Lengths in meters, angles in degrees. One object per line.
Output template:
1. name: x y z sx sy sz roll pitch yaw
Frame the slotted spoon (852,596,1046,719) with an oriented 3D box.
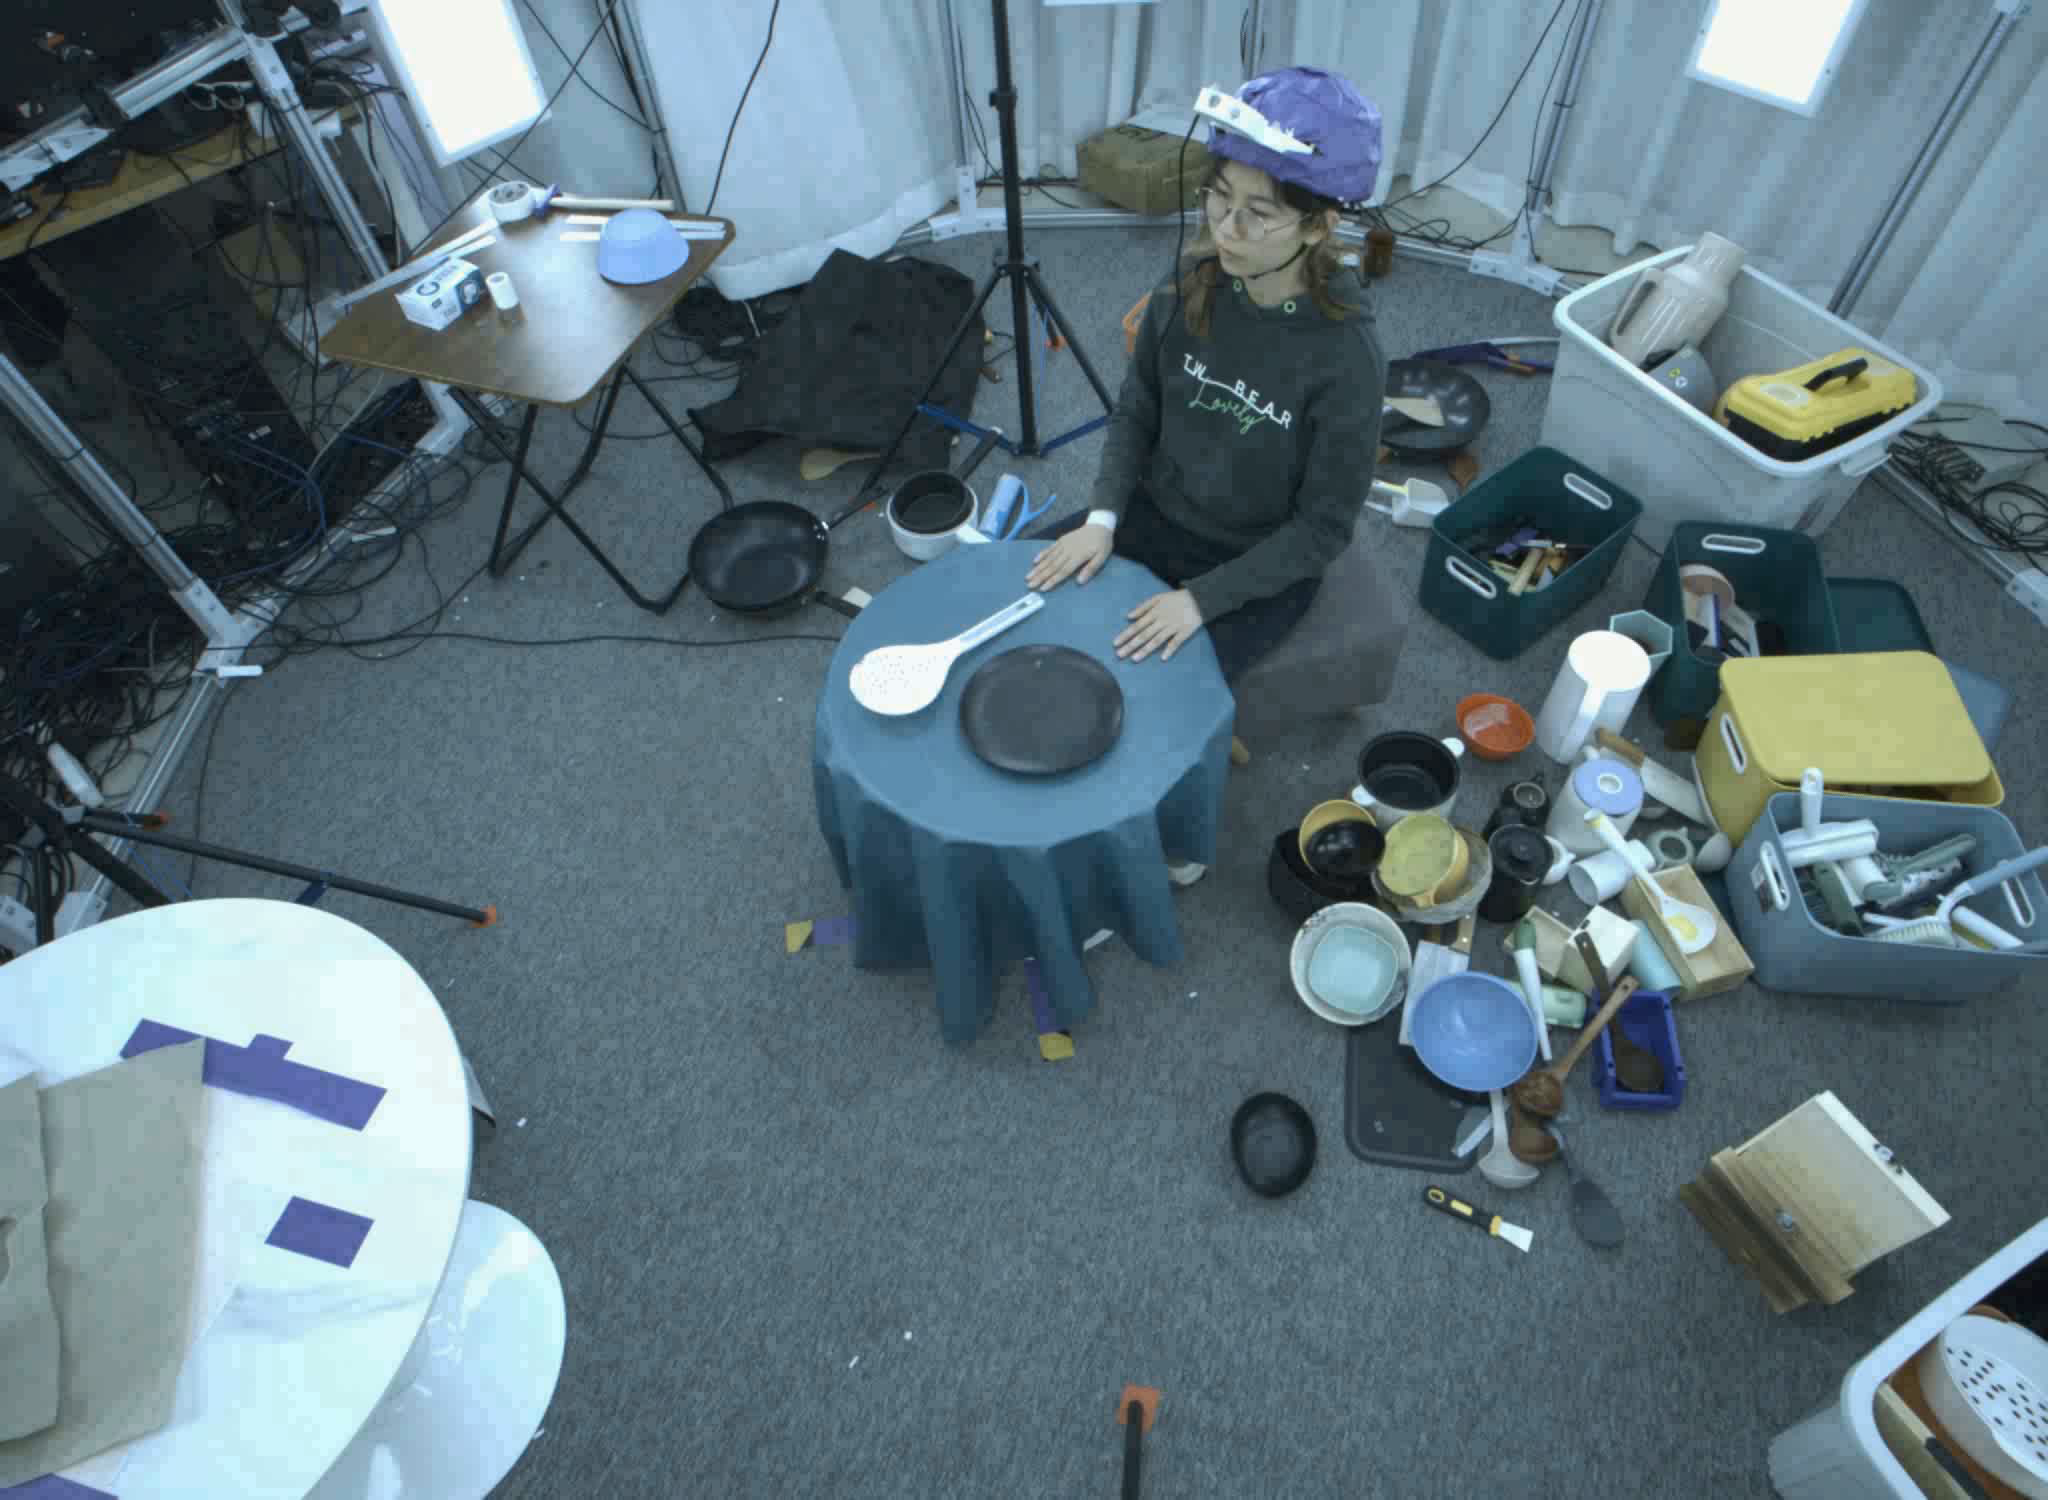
1. slotted spoon: -0.106 -0.150 1.878 0.352 0.046 0.133 -35 63 -22

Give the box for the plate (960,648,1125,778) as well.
1. plate: 0.027 -0.054 1.821 0.244 0.023 0.242 0 55 2
